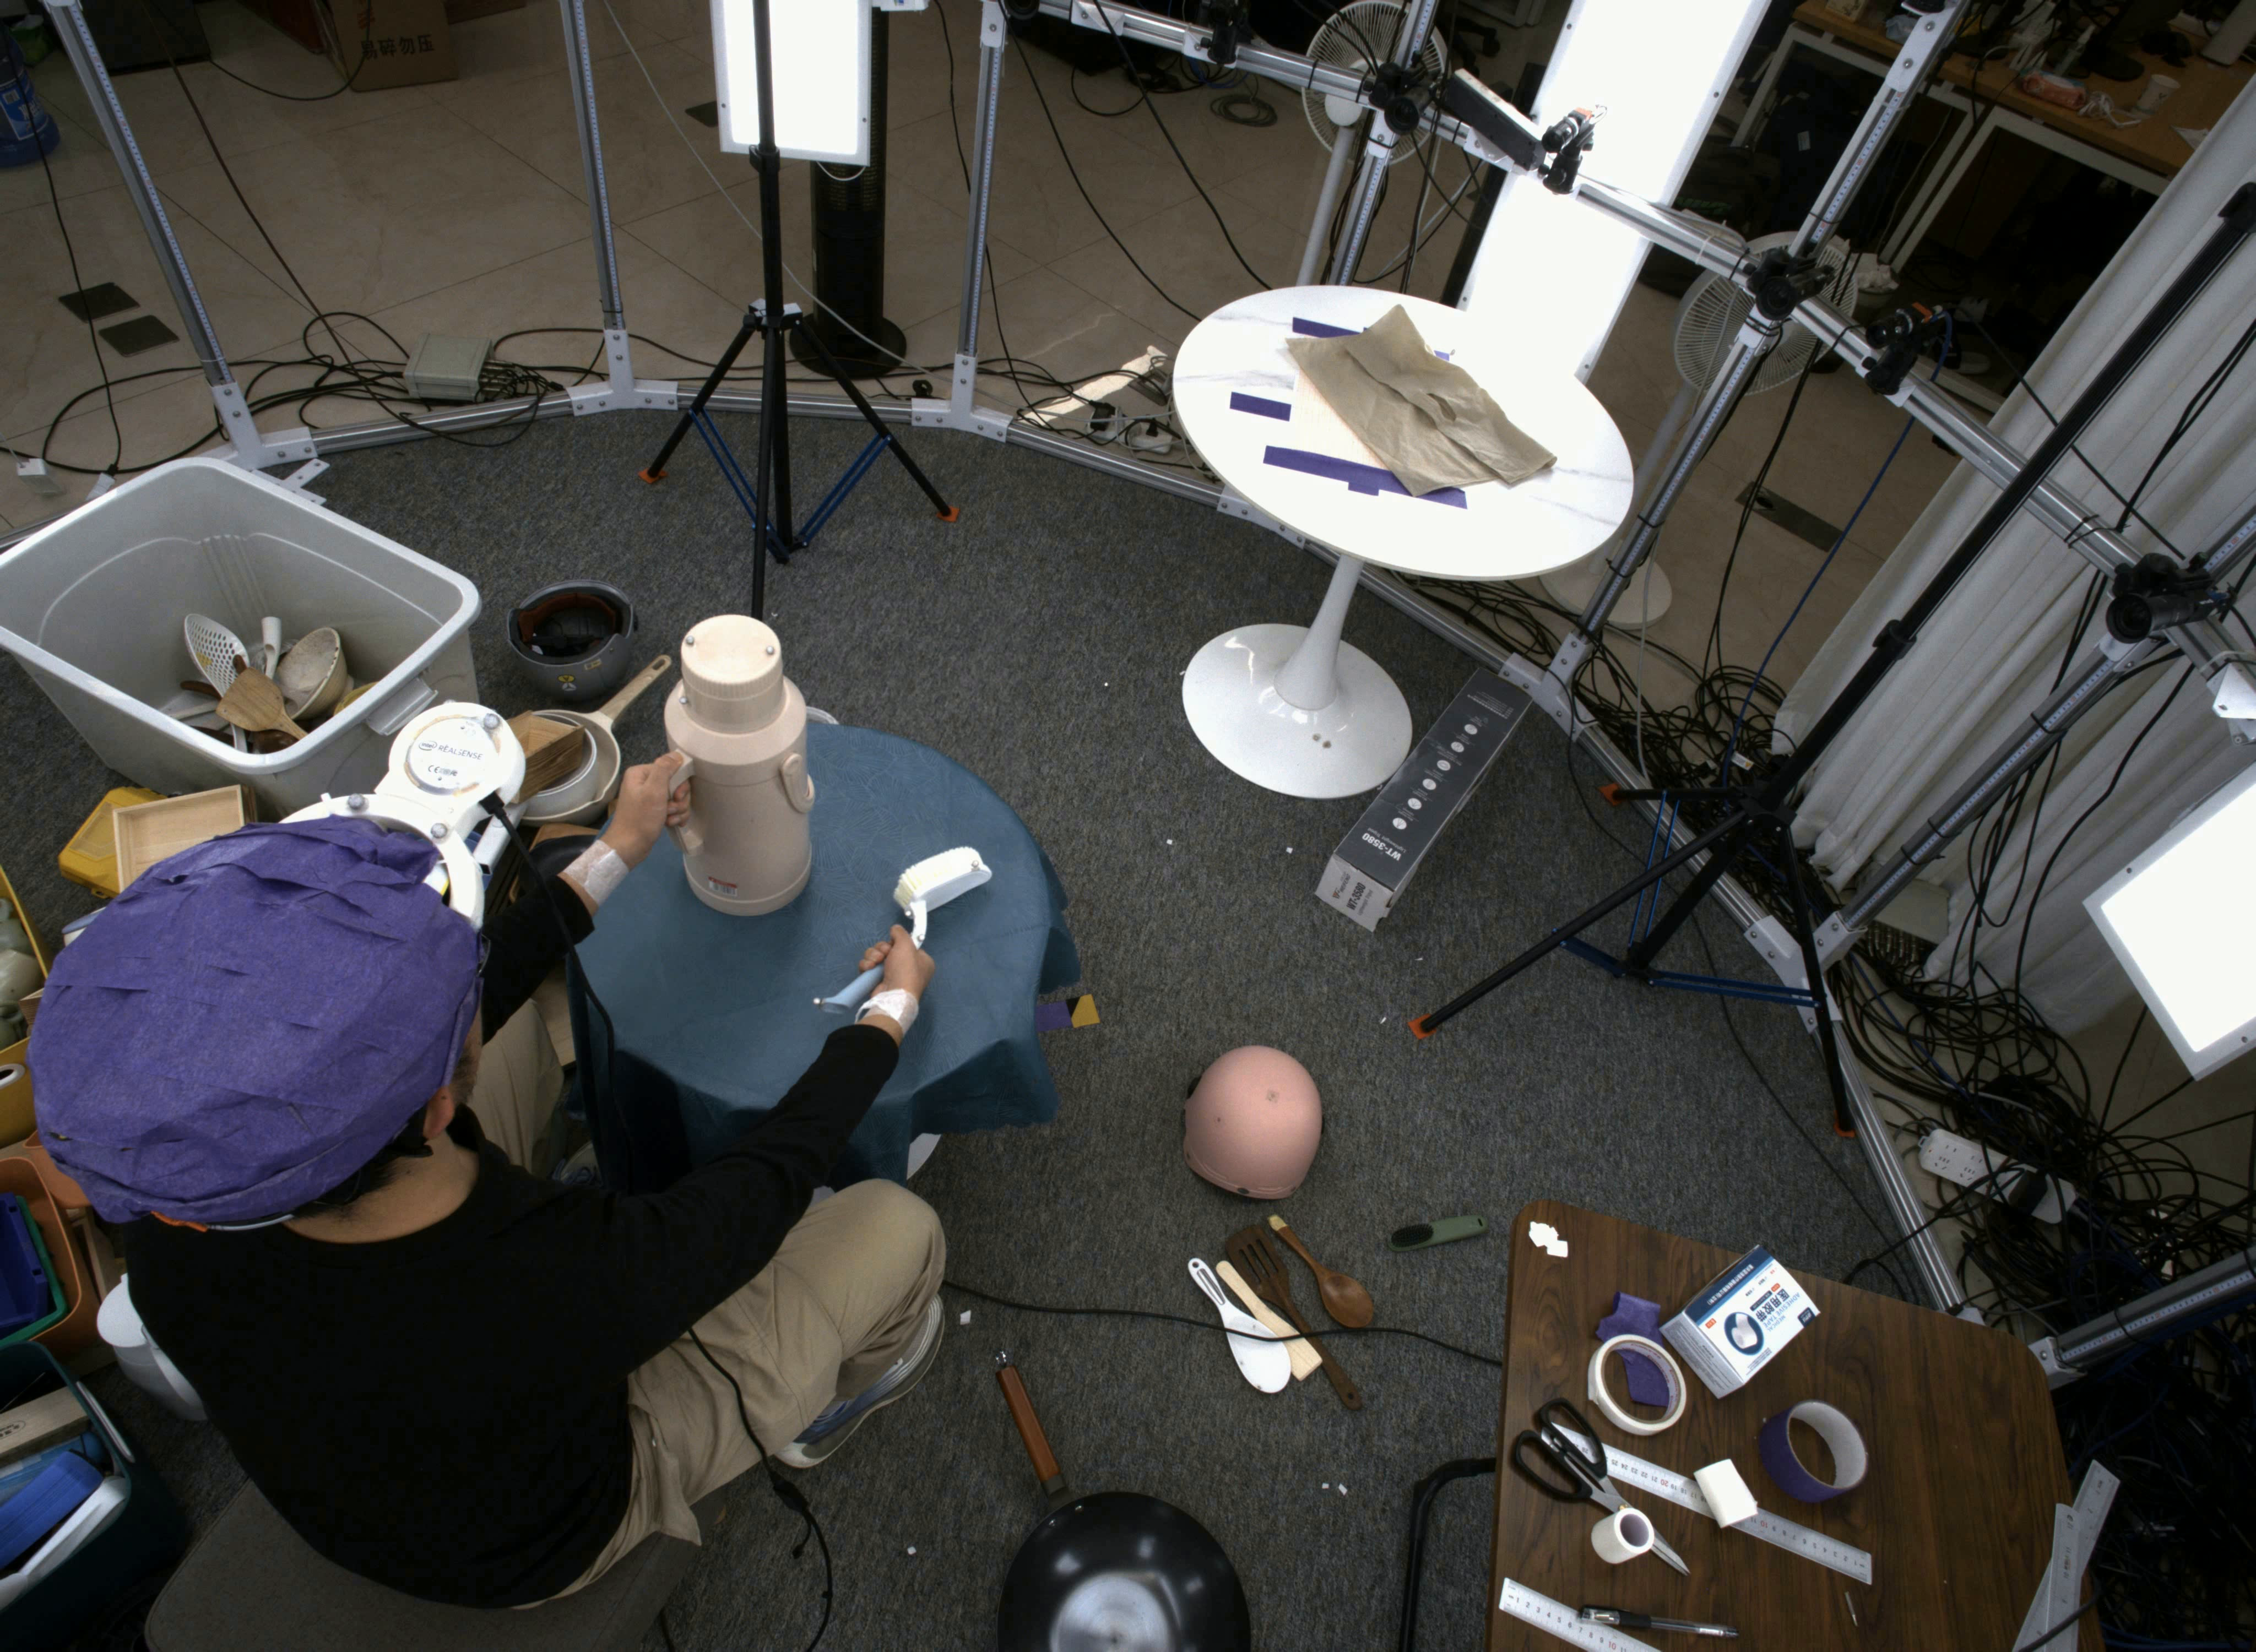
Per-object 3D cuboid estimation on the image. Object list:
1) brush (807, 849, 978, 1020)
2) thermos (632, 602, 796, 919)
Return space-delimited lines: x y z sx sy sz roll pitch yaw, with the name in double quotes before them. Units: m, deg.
"brush" -0.301 0.113 1.582 0.082 0.086 0.325 7 32 31
"thermos" -0.484 -0.064 1.494 0.172 0.414 0.206 32 52 12
